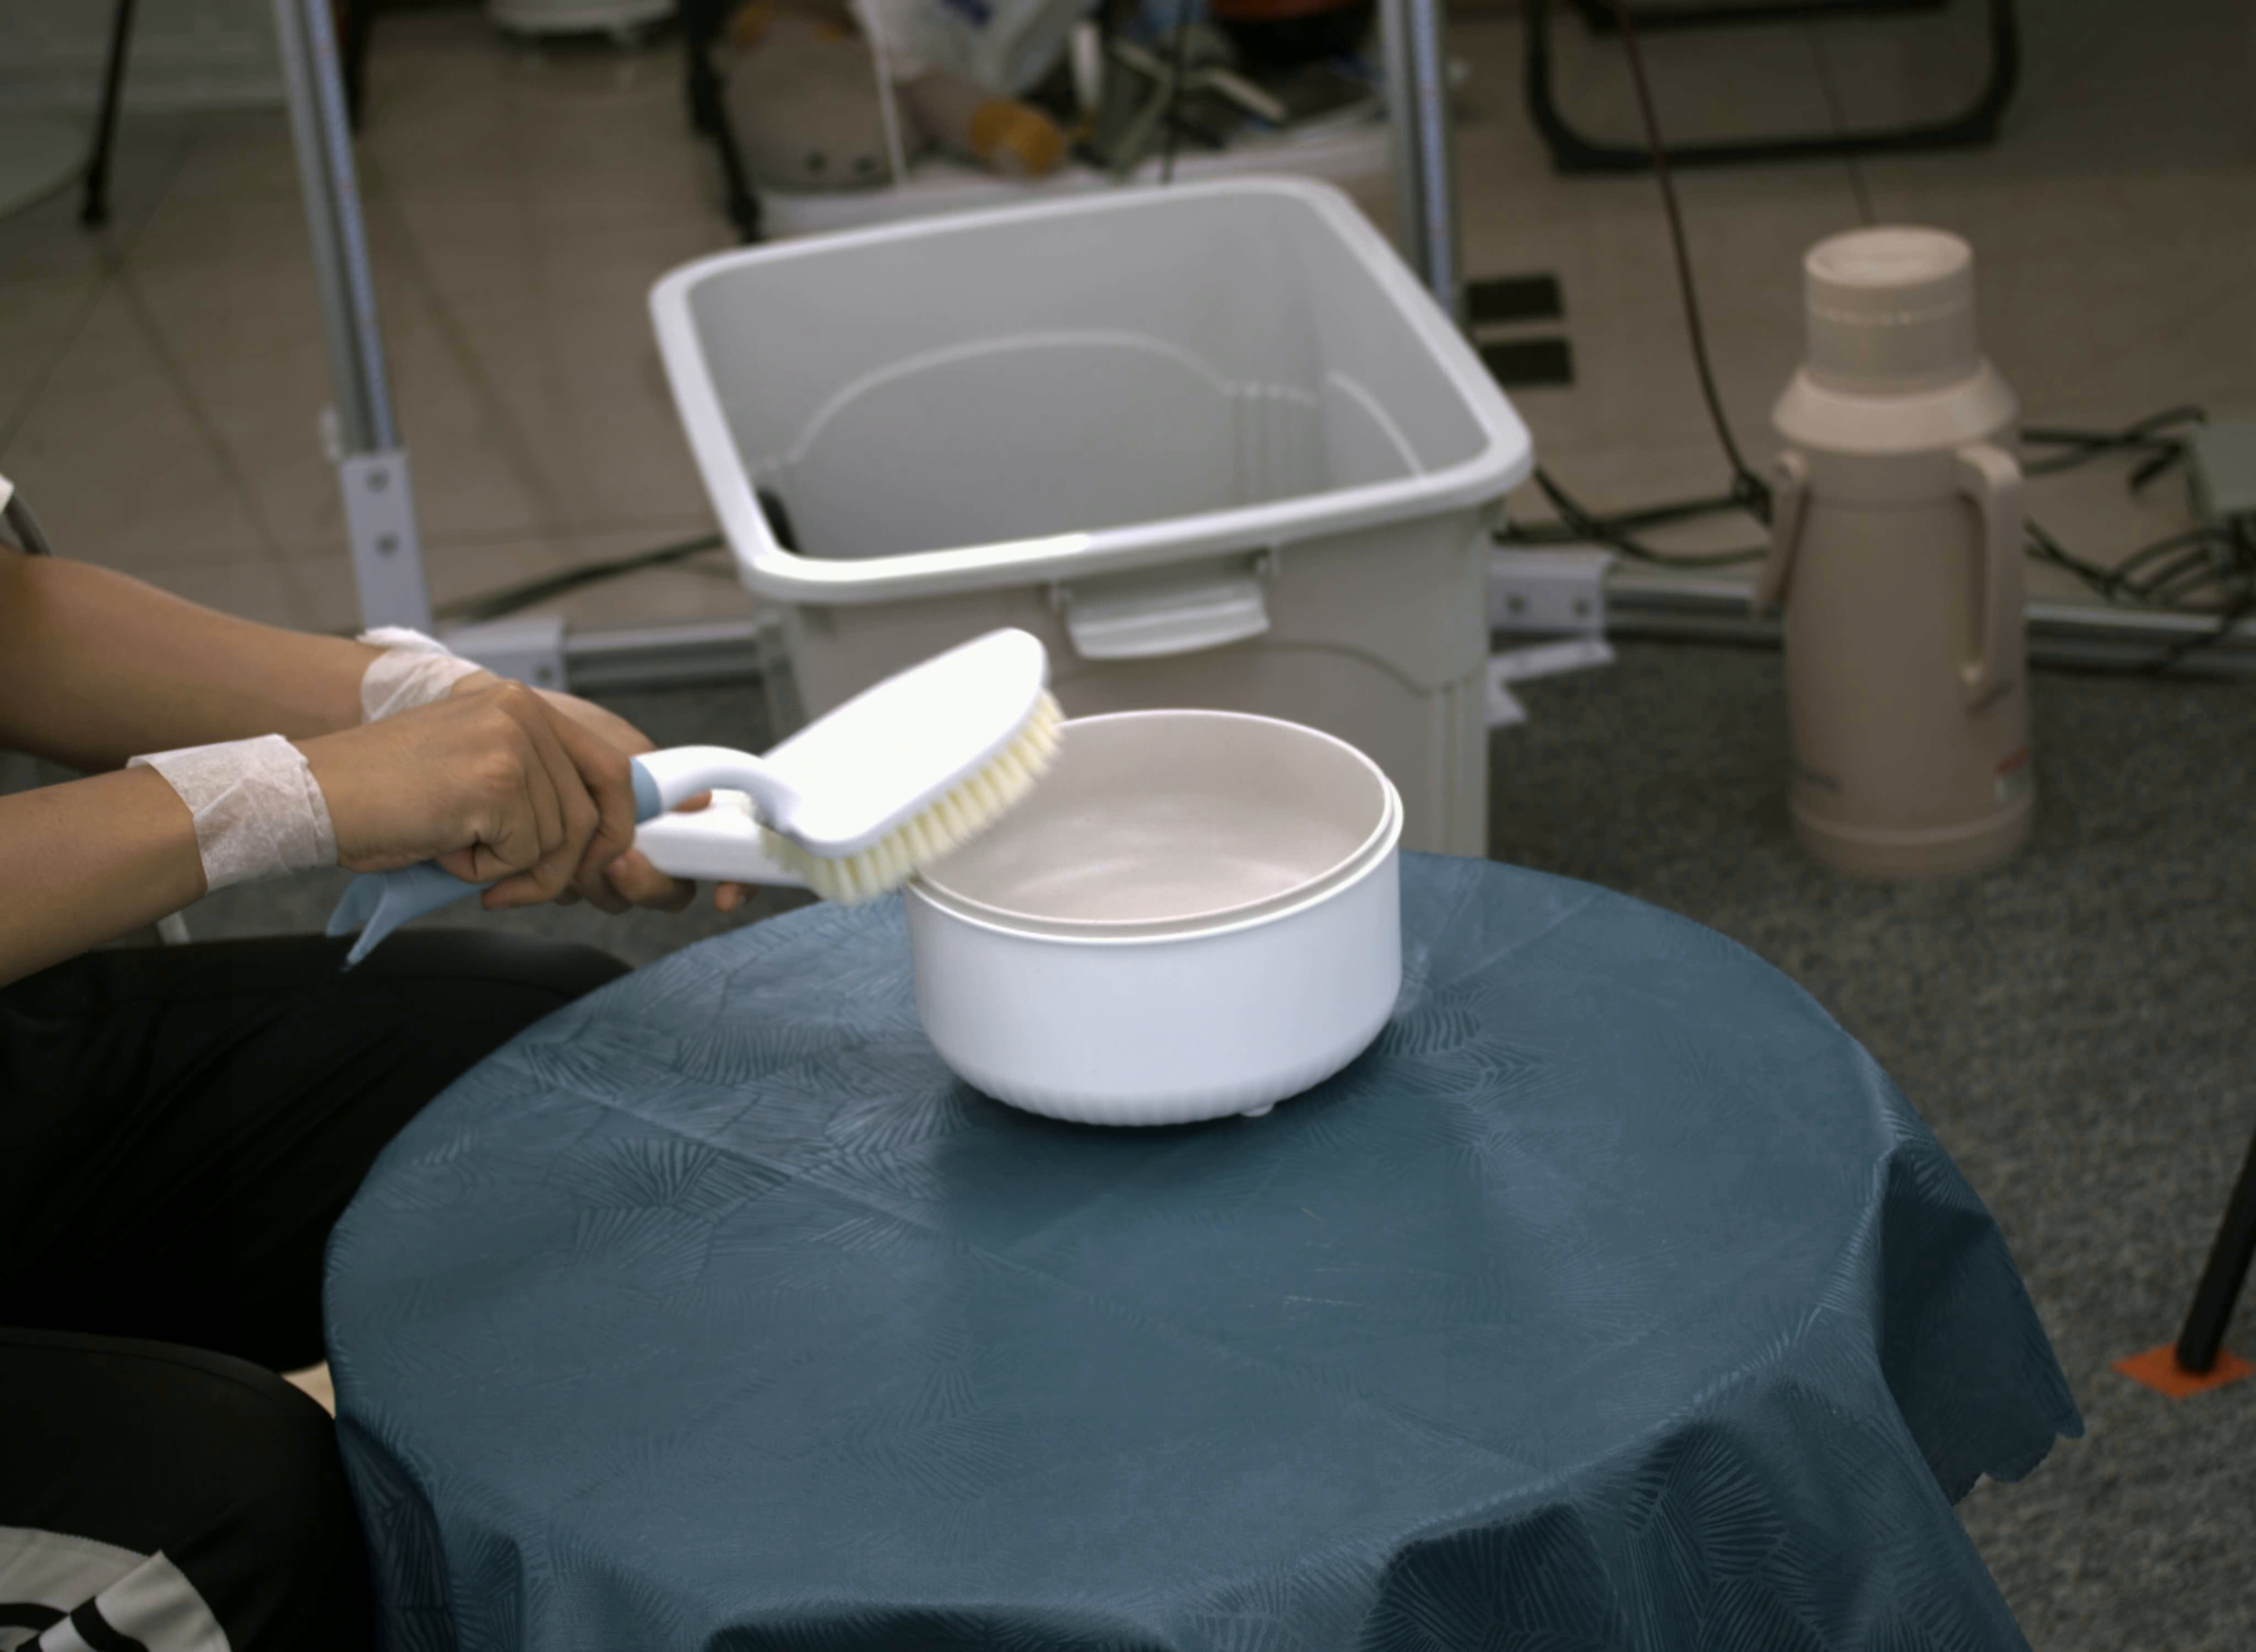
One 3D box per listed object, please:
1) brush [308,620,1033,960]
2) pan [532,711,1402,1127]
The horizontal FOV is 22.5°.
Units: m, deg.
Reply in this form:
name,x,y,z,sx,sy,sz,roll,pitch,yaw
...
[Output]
name,x,y,z,sx,sy,sz,roll,pitch,yaw
brush,-0.170,0.008,2.142,0.323,0.085,0.083,-25,3,-31
pan,-0.064,0.037,2.256,0.354,0.104,0.198,3,27,16
